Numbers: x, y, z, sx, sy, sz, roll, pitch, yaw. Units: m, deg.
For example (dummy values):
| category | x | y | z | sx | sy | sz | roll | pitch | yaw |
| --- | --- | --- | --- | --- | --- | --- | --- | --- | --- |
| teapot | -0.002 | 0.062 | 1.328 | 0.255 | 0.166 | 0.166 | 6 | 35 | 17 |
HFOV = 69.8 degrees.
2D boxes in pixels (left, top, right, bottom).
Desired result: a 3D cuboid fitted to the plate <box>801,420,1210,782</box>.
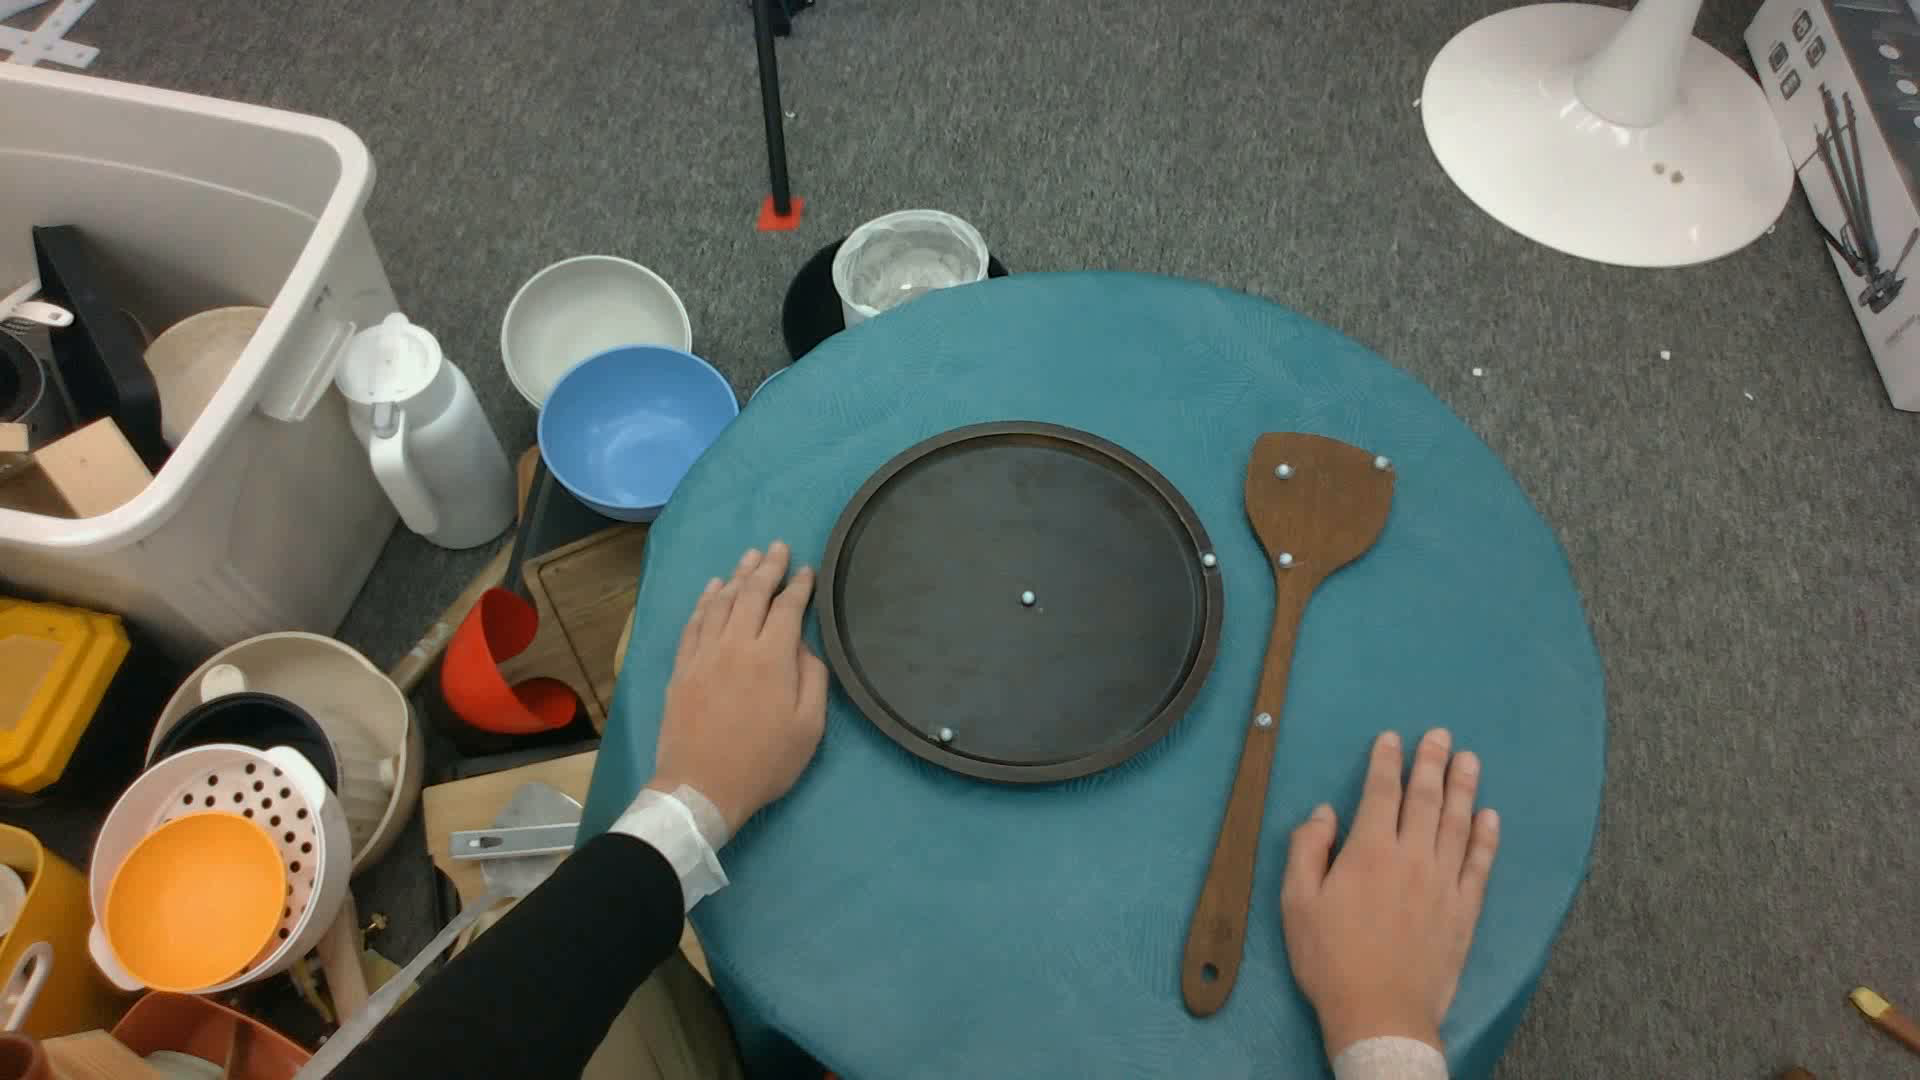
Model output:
| category | x | y | z | sx | sy | sz | roll | pitch | yaw |
| --- | --- | --- | --- | --- | --- | --- | --- | --- | --- |
| plate | 0.028 | 0.032 | 0.857 | 0.255 | 0.029 | 0.256 | 1 | 58 | -2 |

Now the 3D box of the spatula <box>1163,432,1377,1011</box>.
| category | x | y | z | sx | sy | sz | roll | pitch | yaw |
| --- | --- | --- | --- | --- | --- | --- | --- | --- | --- |
| spatula | 0.178 | 0.092 | 0.832 | 0.096 | 0.016 | 0.387 | 16 | 61 | 8 |
